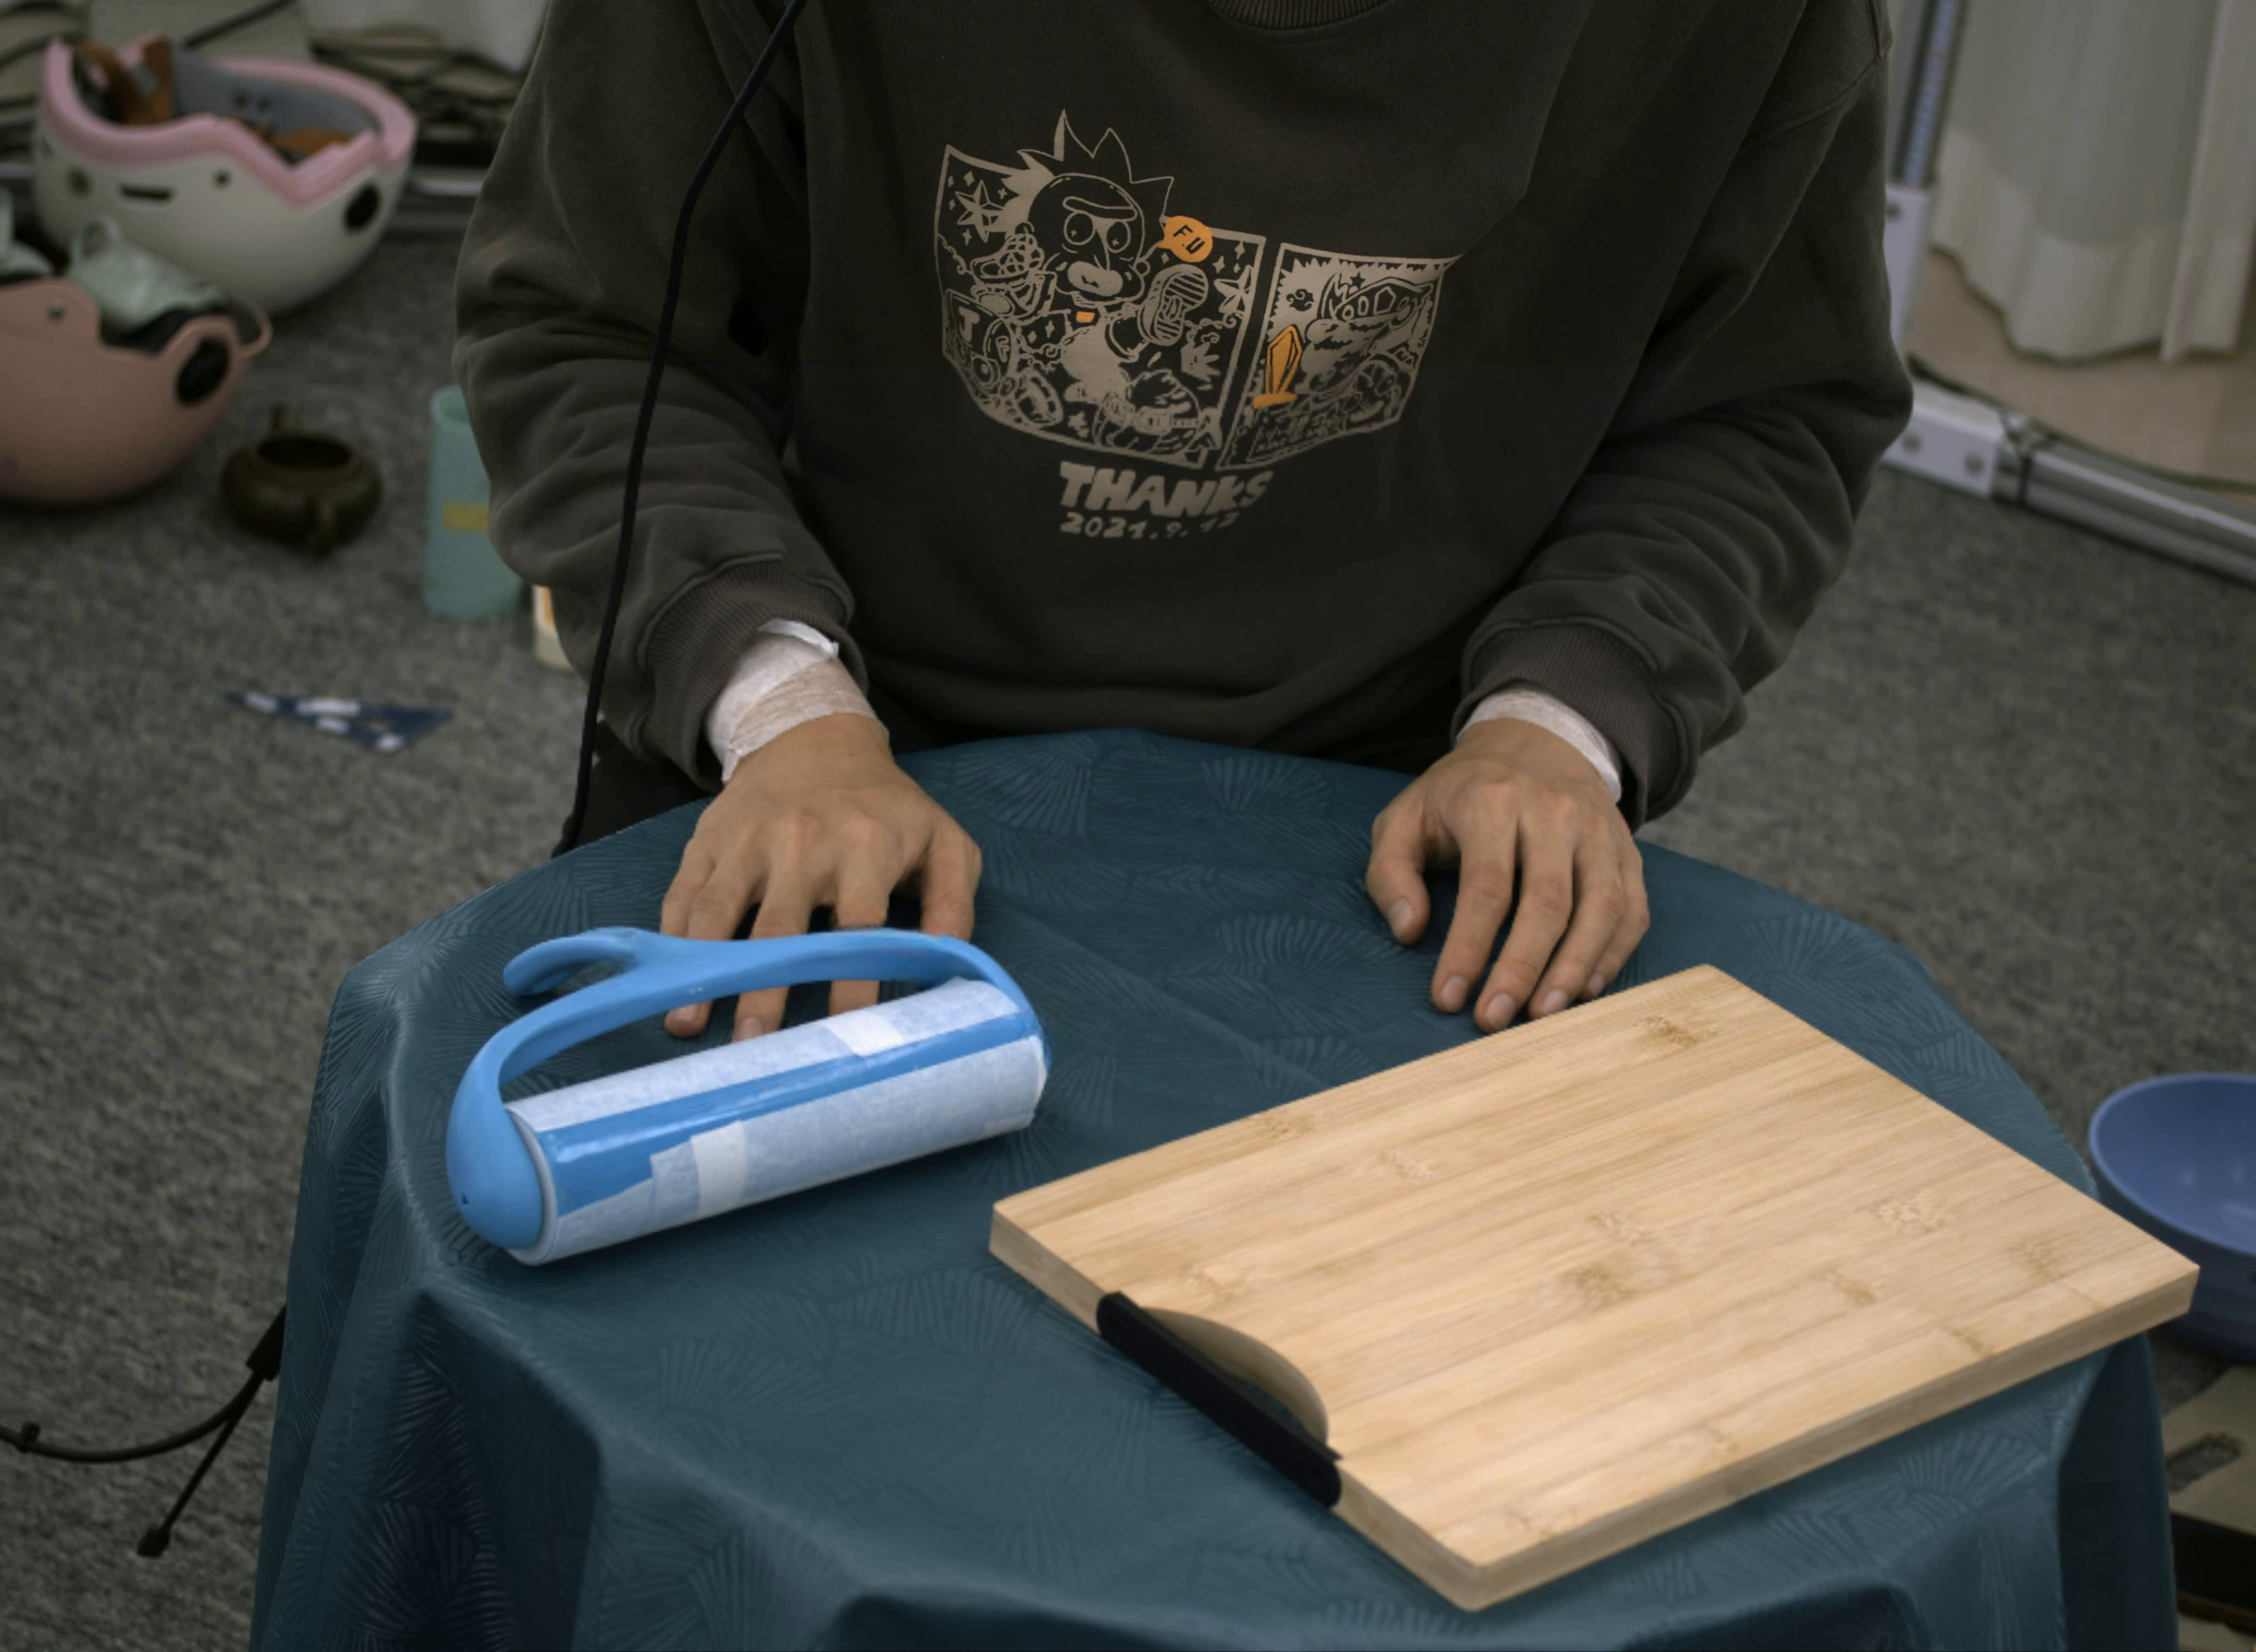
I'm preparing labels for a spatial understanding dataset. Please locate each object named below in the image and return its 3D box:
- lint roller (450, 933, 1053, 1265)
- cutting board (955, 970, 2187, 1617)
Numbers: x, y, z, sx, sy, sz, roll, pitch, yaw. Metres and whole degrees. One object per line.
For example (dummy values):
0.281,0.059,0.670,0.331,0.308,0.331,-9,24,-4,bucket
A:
-0.158,0.071,1.809,0.227,0.068,0.182,-16,36,-35,lint roller
0.152,0.147,1.775,0.346,0.023,0.253,-16,34,-38,cutting board
